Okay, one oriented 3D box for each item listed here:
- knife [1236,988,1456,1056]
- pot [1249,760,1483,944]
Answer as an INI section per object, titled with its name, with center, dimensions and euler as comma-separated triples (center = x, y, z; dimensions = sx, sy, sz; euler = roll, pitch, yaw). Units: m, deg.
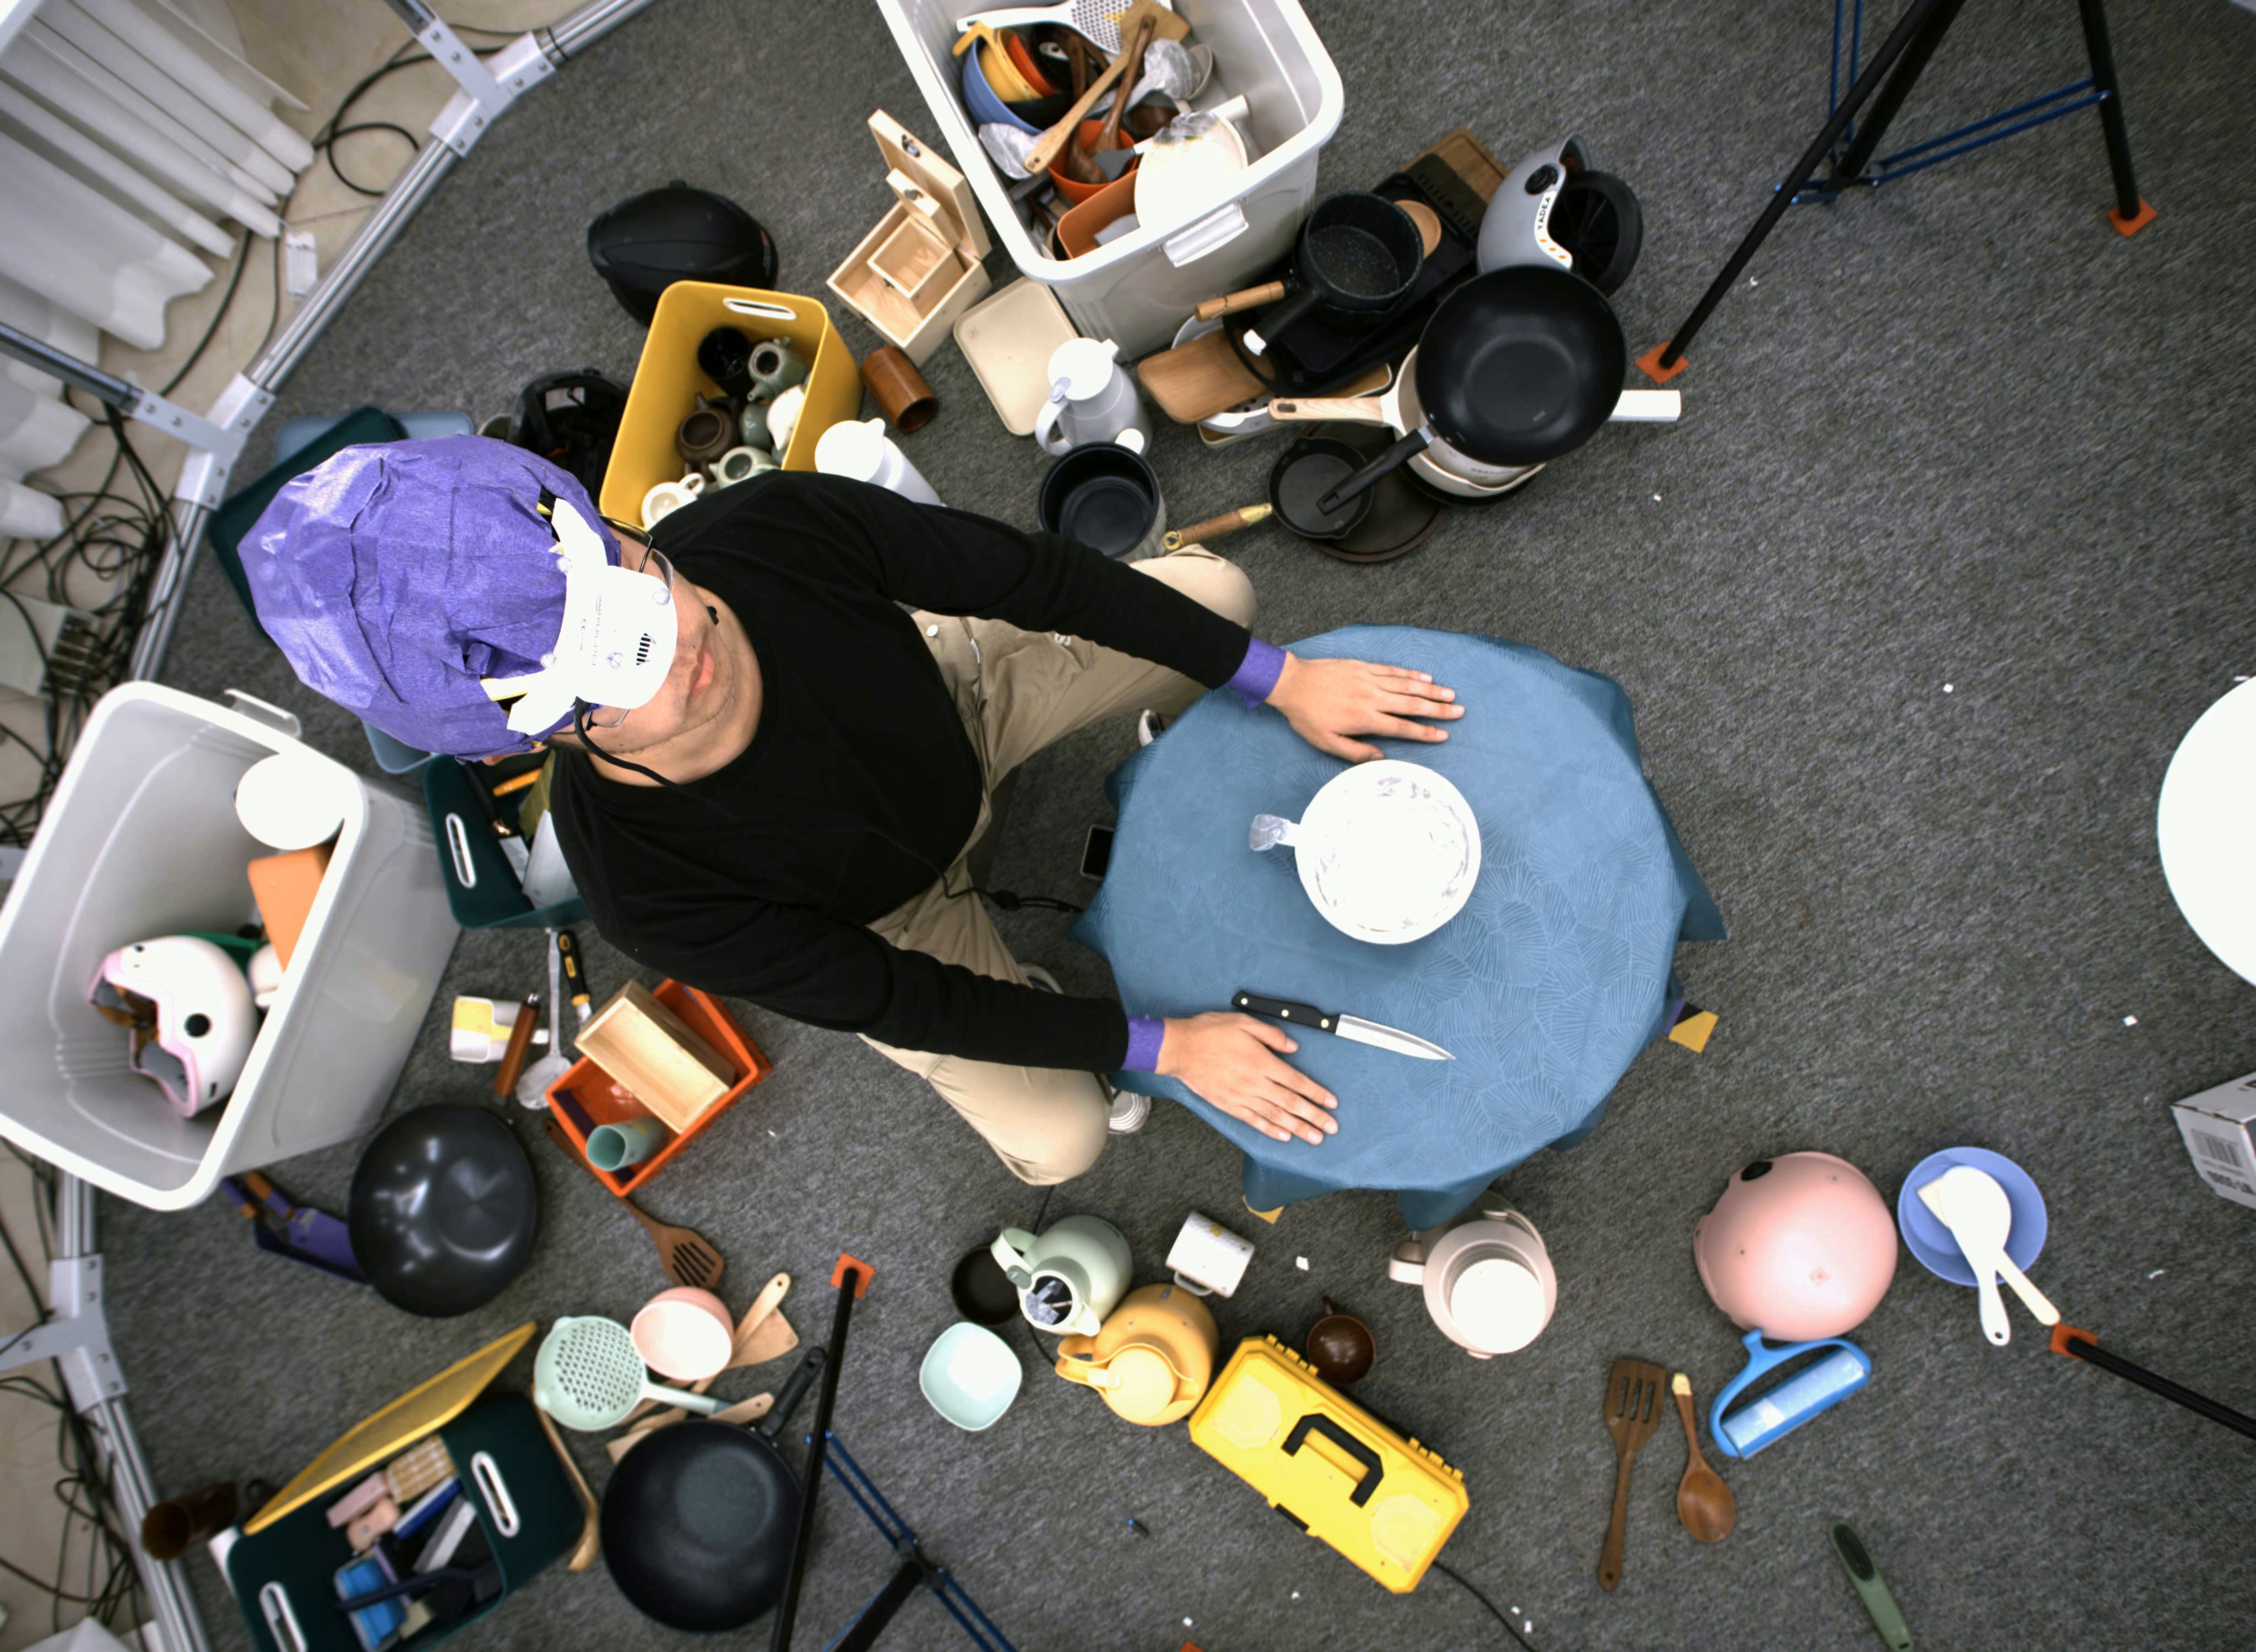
[knife]
center = 0.228, 0.209, 1.457
dimensions = 0.238, 0.016, 0.024
euler = 14, 86, 8
[pot]
center = 0.235, 0.024, 1.398
dimensions = 0.234, 0.137, 0.178
euler = 10, 87, 10
